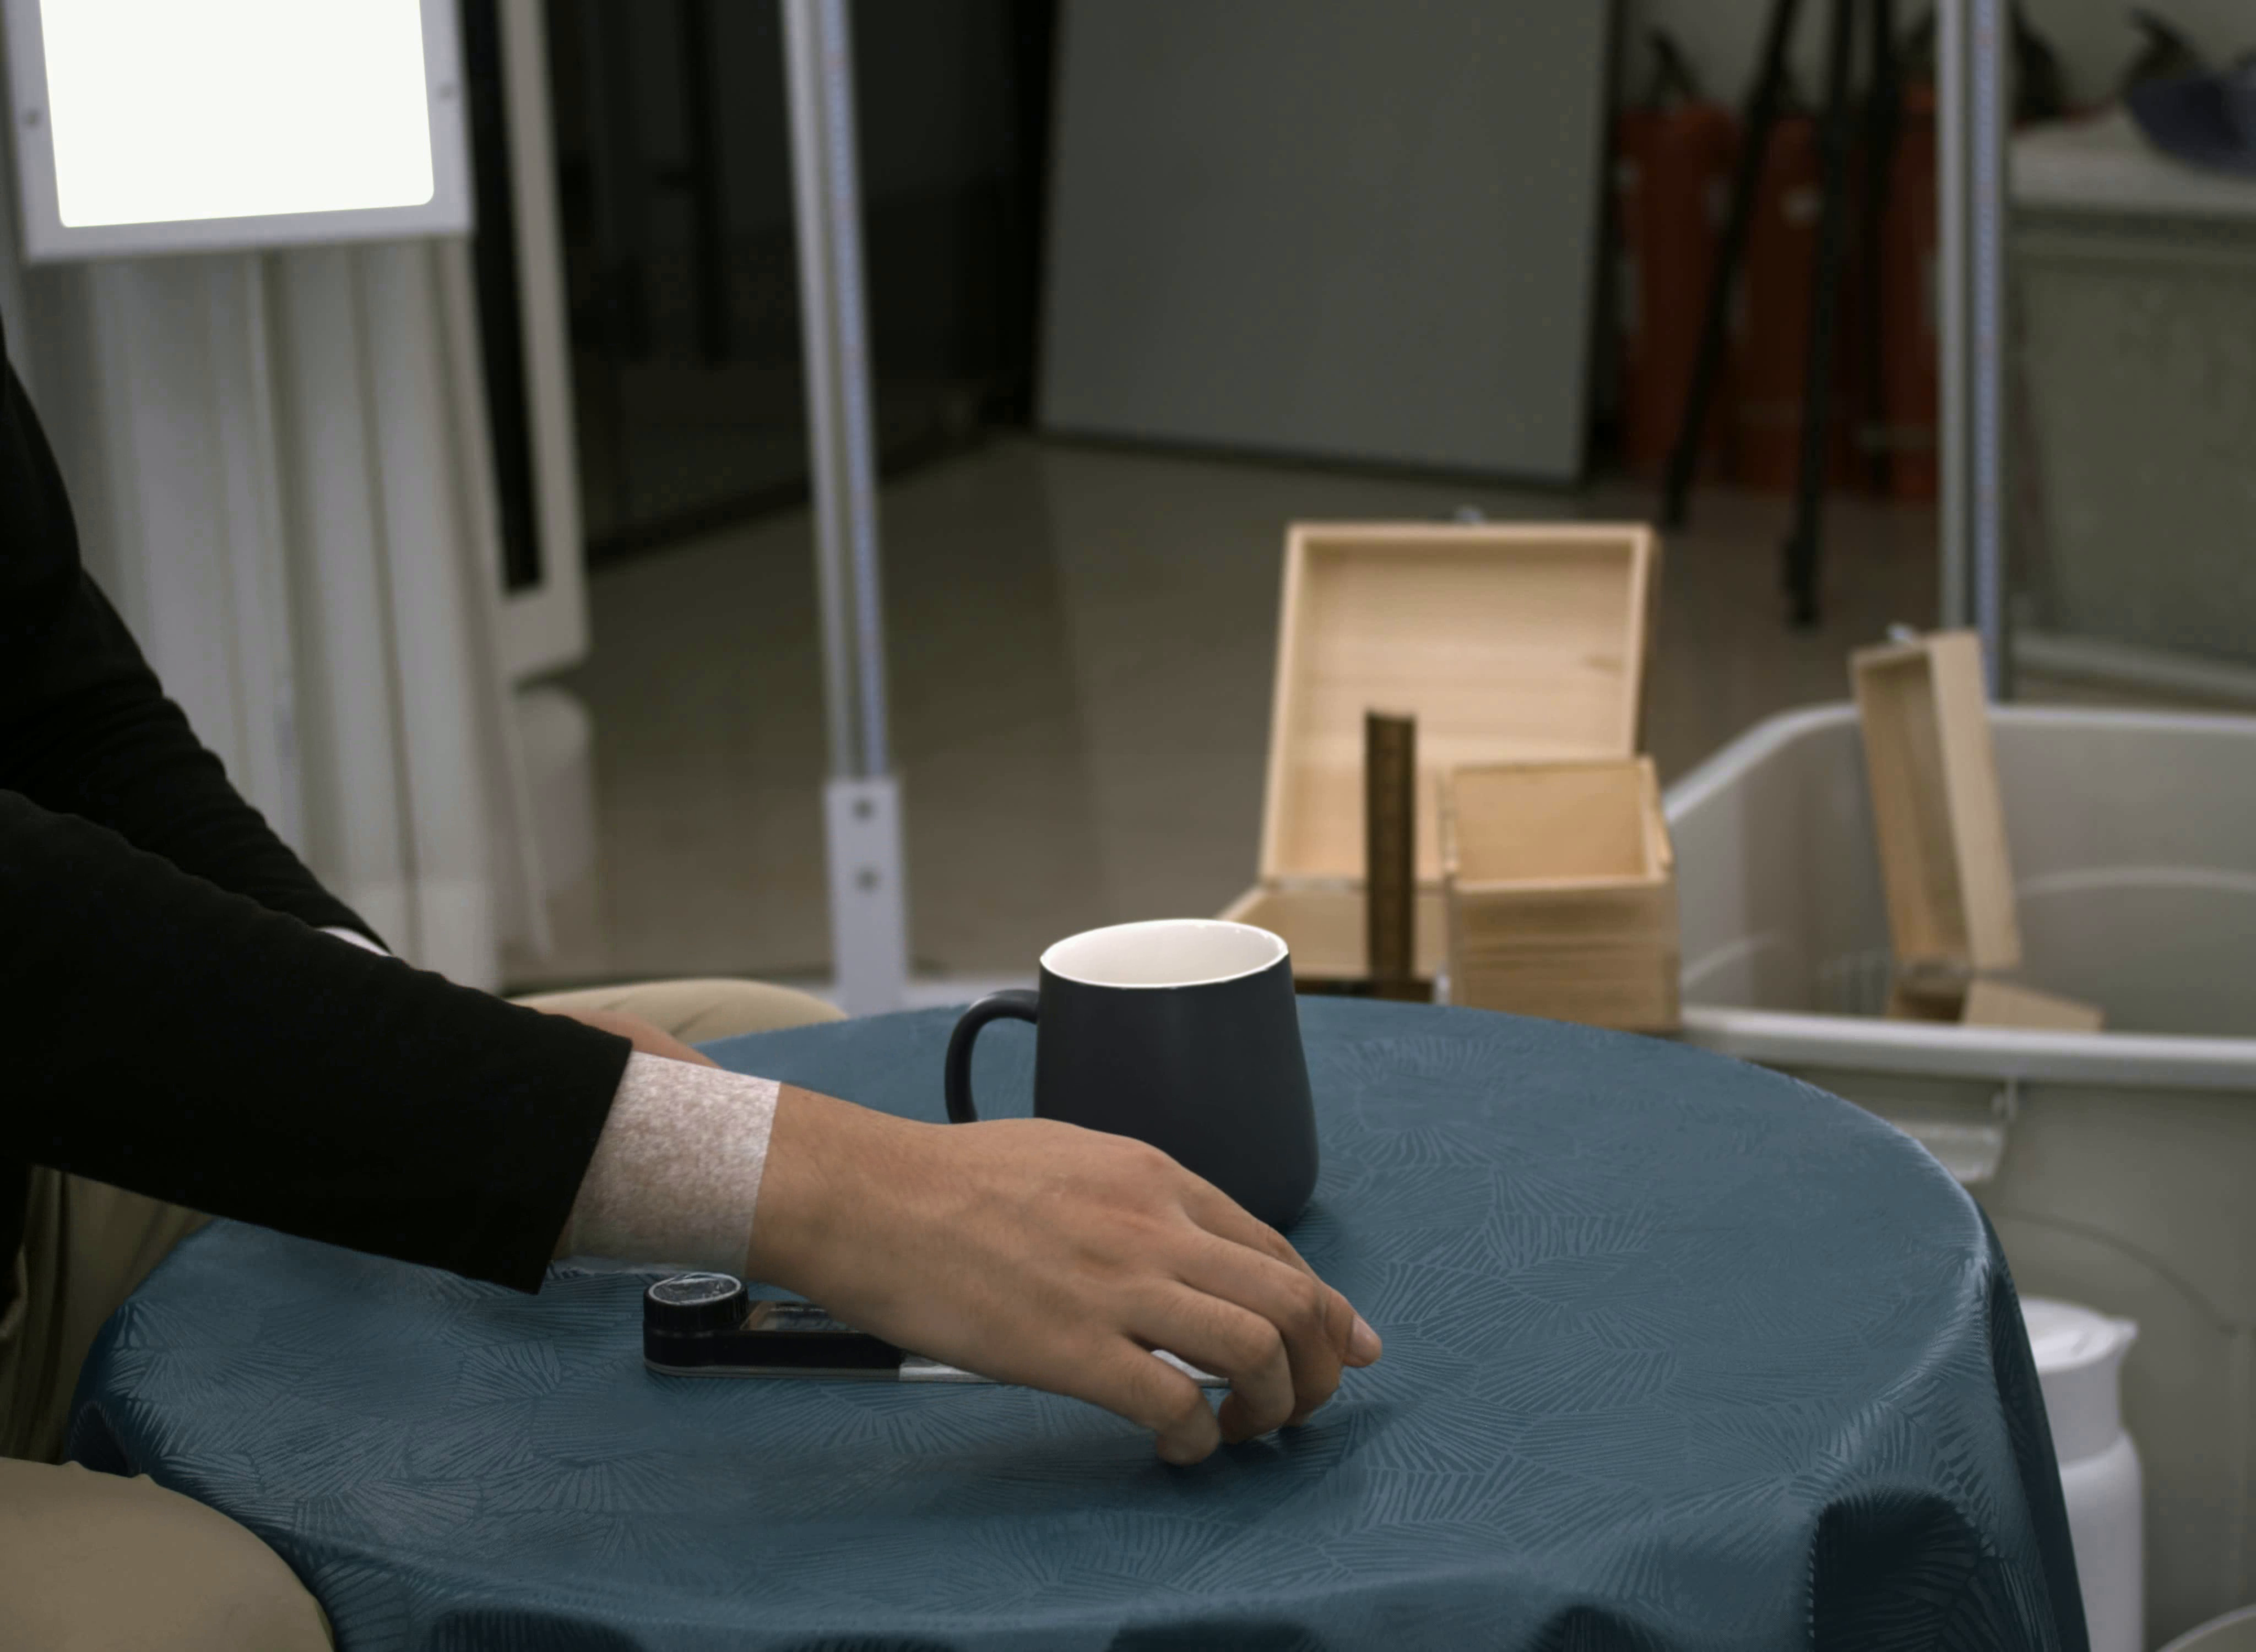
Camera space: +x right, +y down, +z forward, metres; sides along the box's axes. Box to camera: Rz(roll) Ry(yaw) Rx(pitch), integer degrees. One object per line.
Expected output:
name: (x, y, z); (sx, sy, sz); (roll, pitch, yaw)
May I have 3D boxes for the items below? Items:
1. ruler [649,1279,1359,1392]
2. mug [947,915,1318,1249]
ruler: (-0.039, 0.151, 1.613); (0.217, 0.024, 0.038); (-2, 20, 15)
mug: (0.000, 0.081, 1.735); (0.123, 0.091, 0.092); (2, 14, 19)
